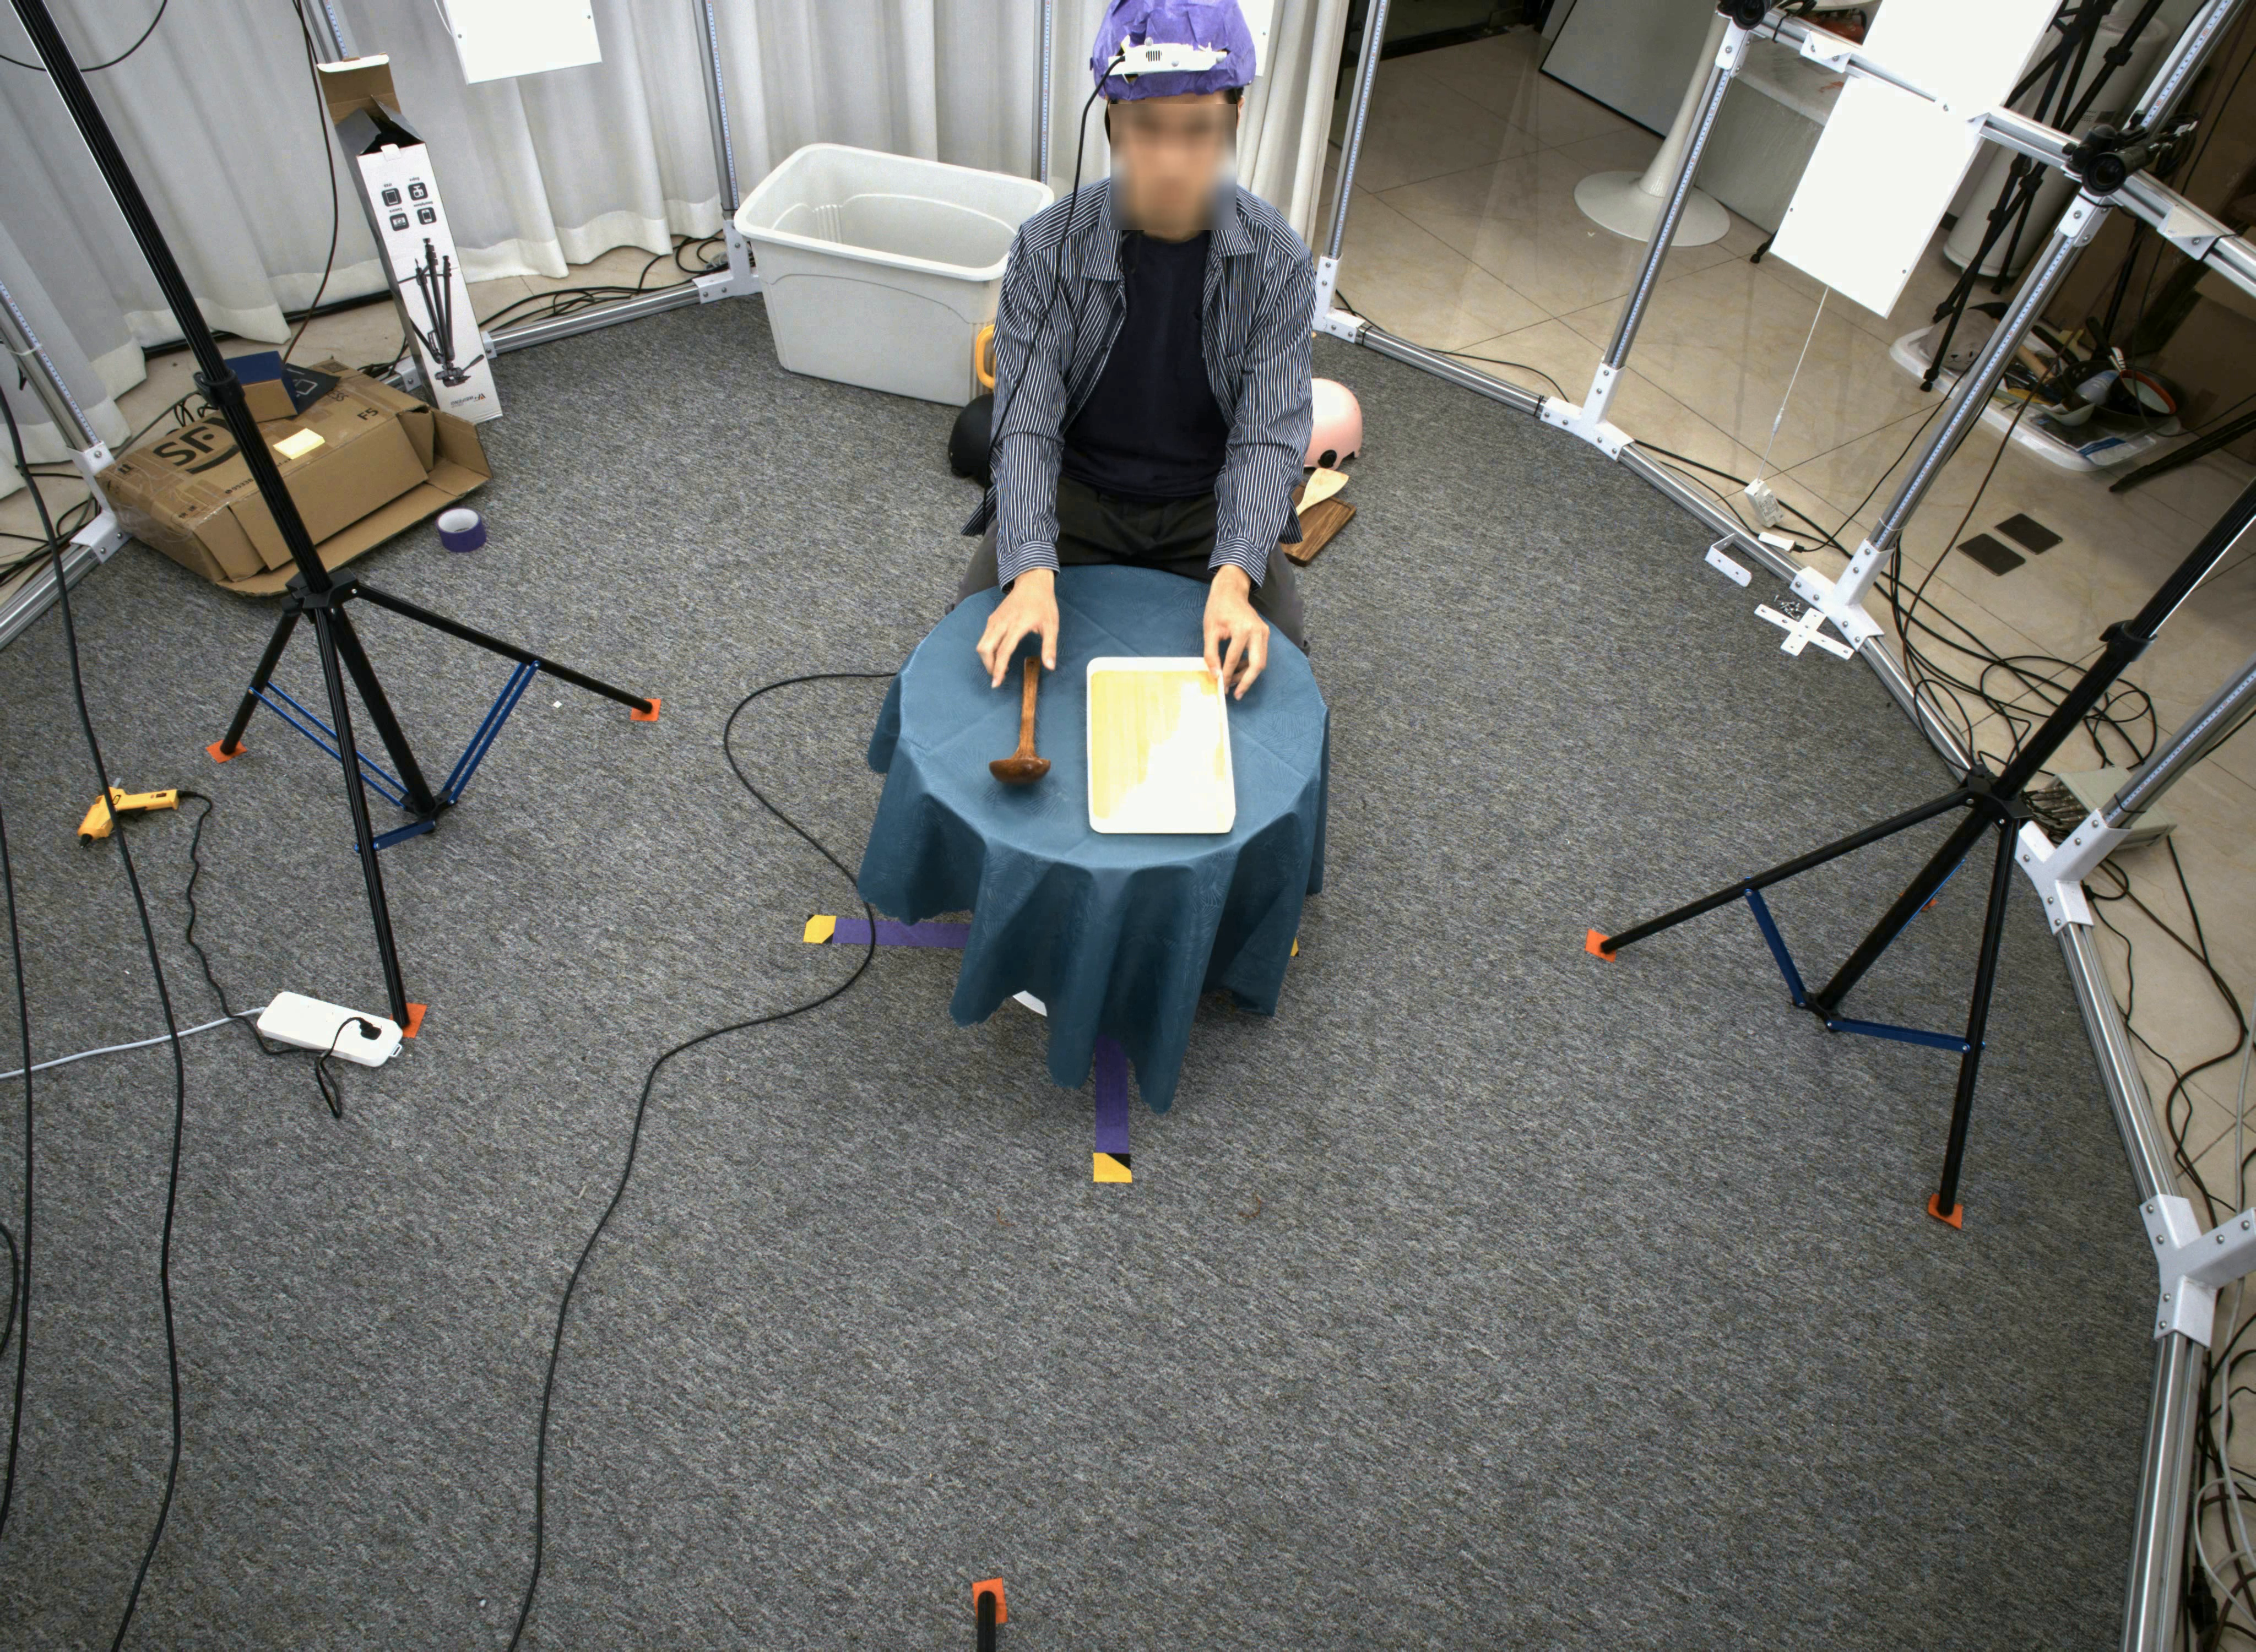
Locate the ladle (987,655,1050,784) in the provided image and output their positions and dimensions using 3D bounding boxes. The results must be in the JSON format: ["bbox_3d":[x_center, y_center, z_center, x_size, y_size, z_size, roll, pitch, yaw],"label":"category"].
[{"bbox_3d":[-0.139,-0.159,1.735,0.082,0.075,0.281,2,49,1],"label":"ladle"}]

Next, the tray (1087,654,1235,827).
[{"bbox_3d":[0.040,-0.121,1.745,0.191,0.027,0.308,0,49,-2],"label":"tray"}]
